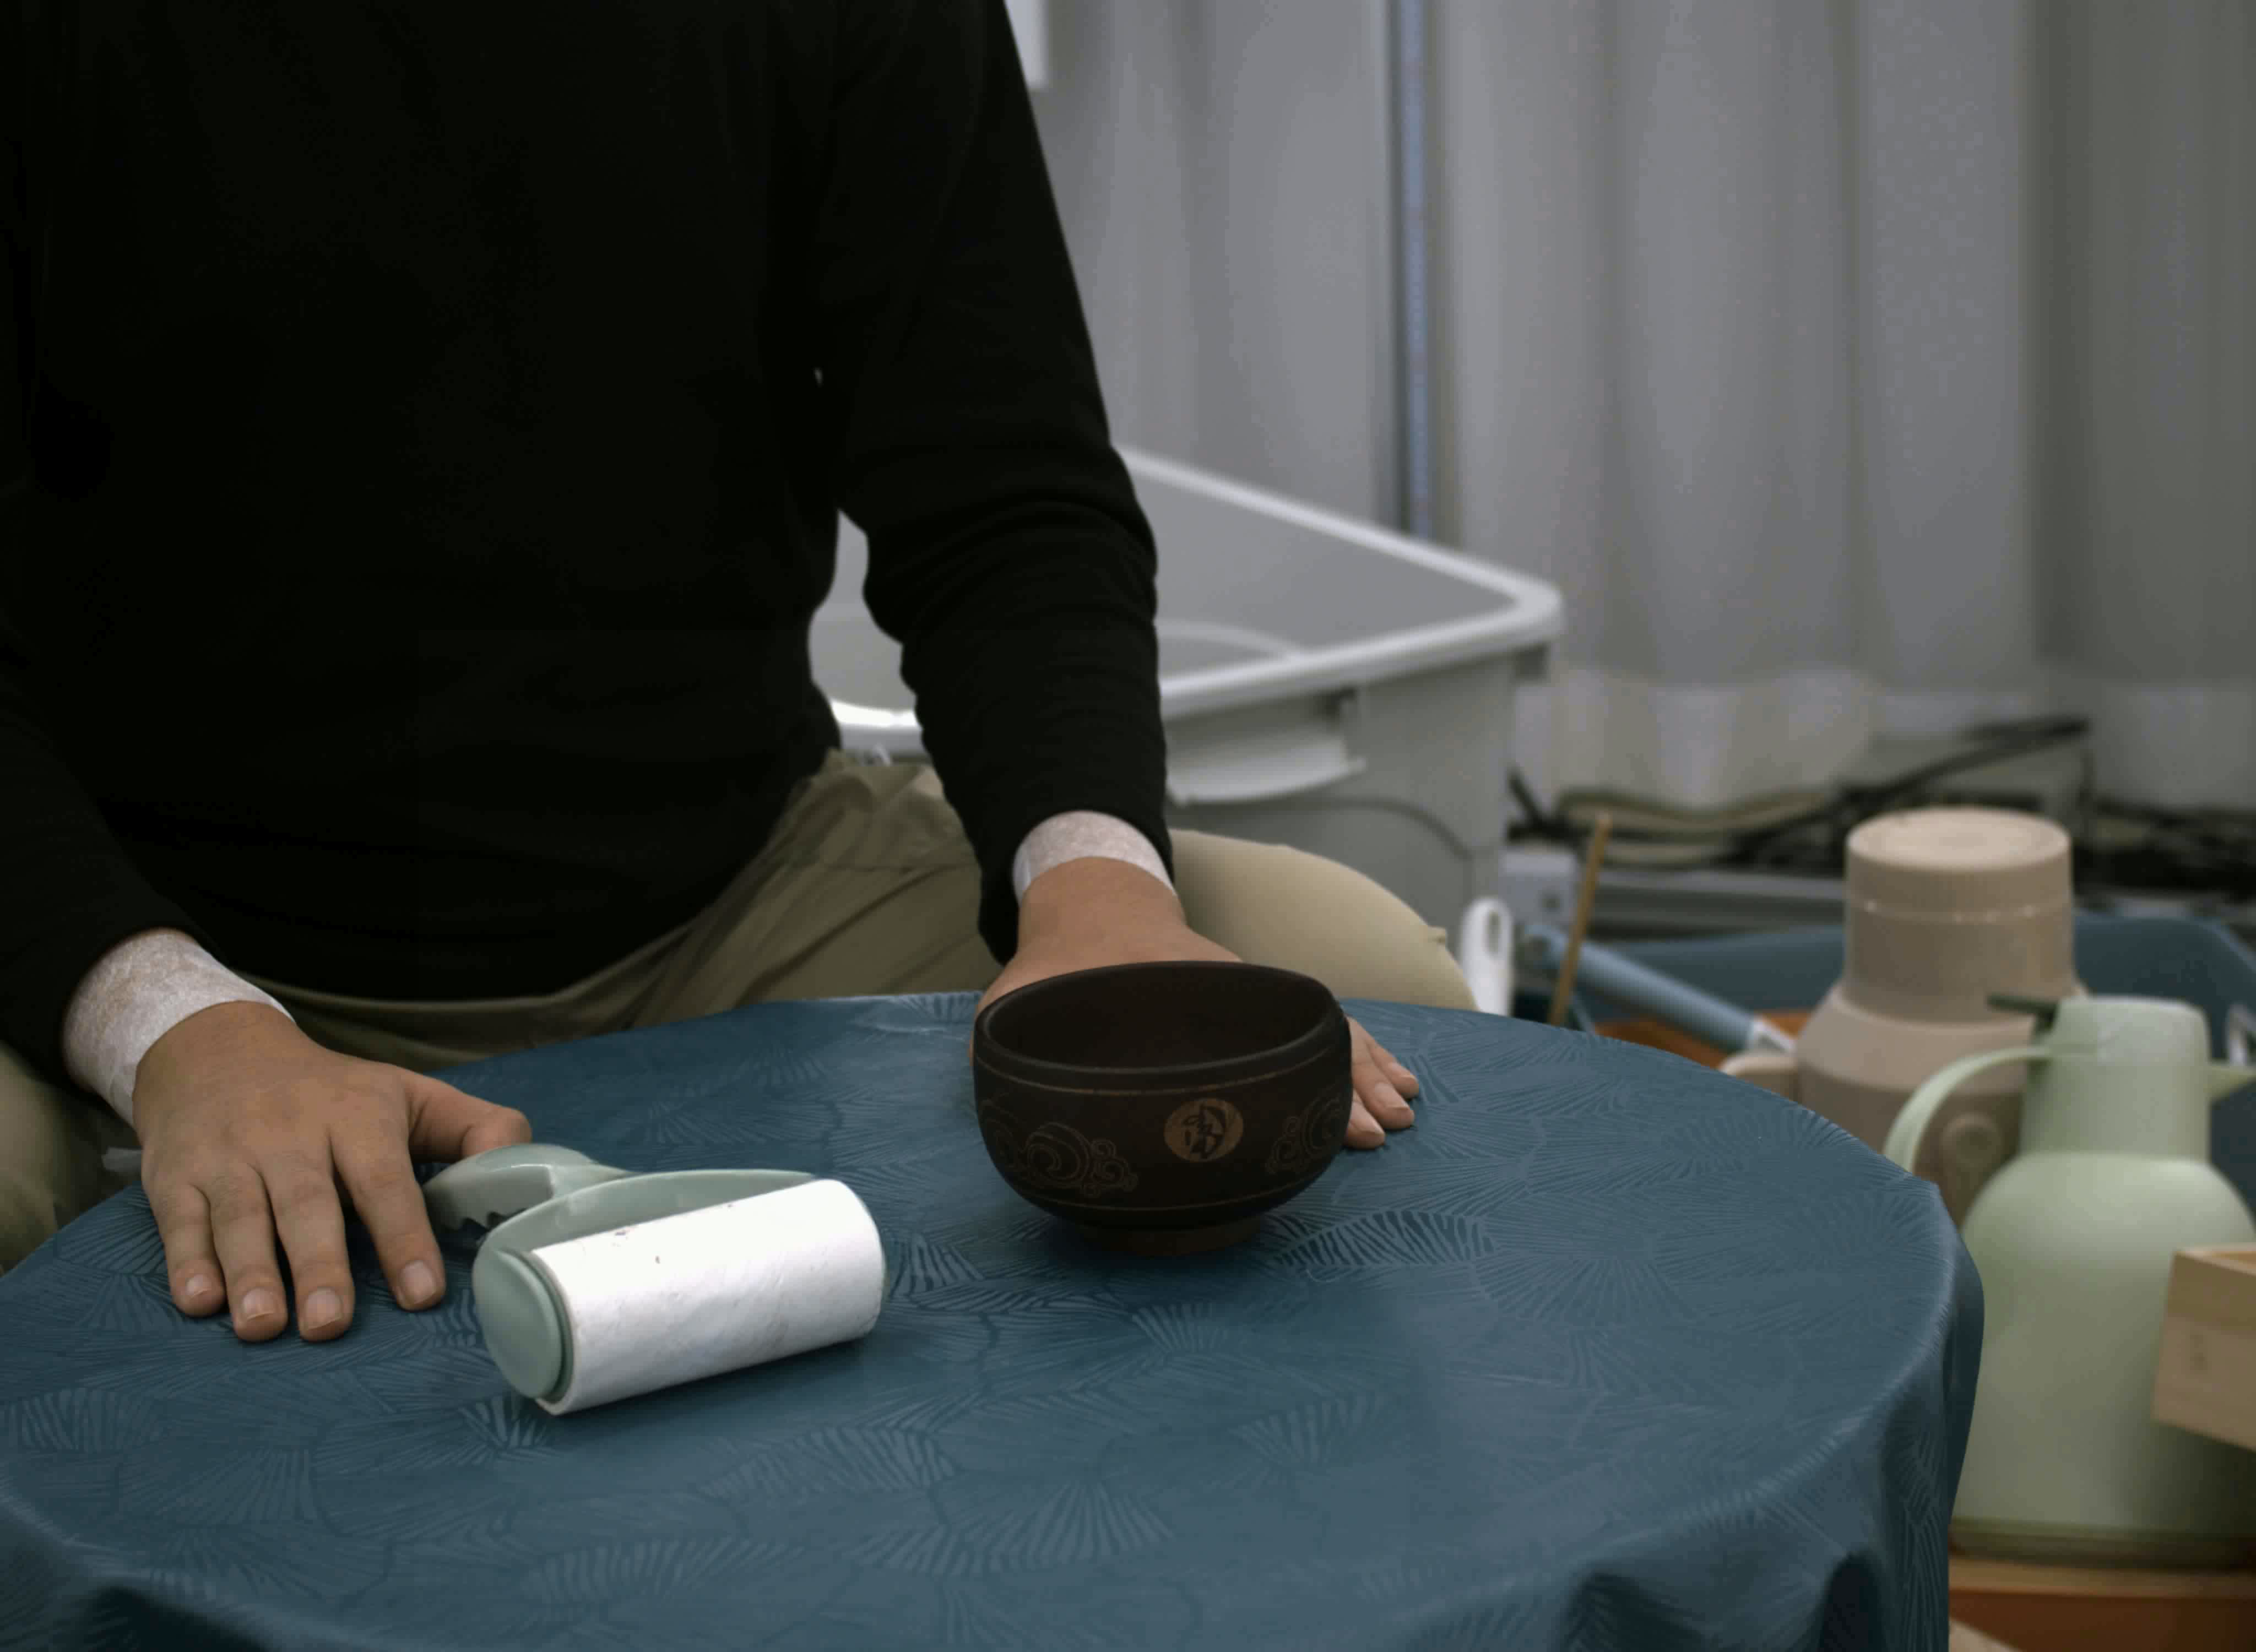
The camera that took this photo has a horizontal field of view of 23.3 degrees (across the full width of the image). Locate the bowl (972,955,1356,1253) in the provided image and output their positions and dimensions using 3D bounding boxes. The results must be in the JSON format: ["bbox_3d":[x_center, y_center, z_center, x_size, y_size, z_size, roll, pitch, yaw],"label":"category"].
[{"bbox_3d":[0.012,0.089,1.671,0.117,0.069,0.119,-4,14,1],"label":"bowl"}]

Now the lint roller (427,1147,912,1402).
[{"bbox_3d":[-0.157,0.121,1.635,0.116,0.048,0.199,-13,16,-31],"label":"lint roller"}]
